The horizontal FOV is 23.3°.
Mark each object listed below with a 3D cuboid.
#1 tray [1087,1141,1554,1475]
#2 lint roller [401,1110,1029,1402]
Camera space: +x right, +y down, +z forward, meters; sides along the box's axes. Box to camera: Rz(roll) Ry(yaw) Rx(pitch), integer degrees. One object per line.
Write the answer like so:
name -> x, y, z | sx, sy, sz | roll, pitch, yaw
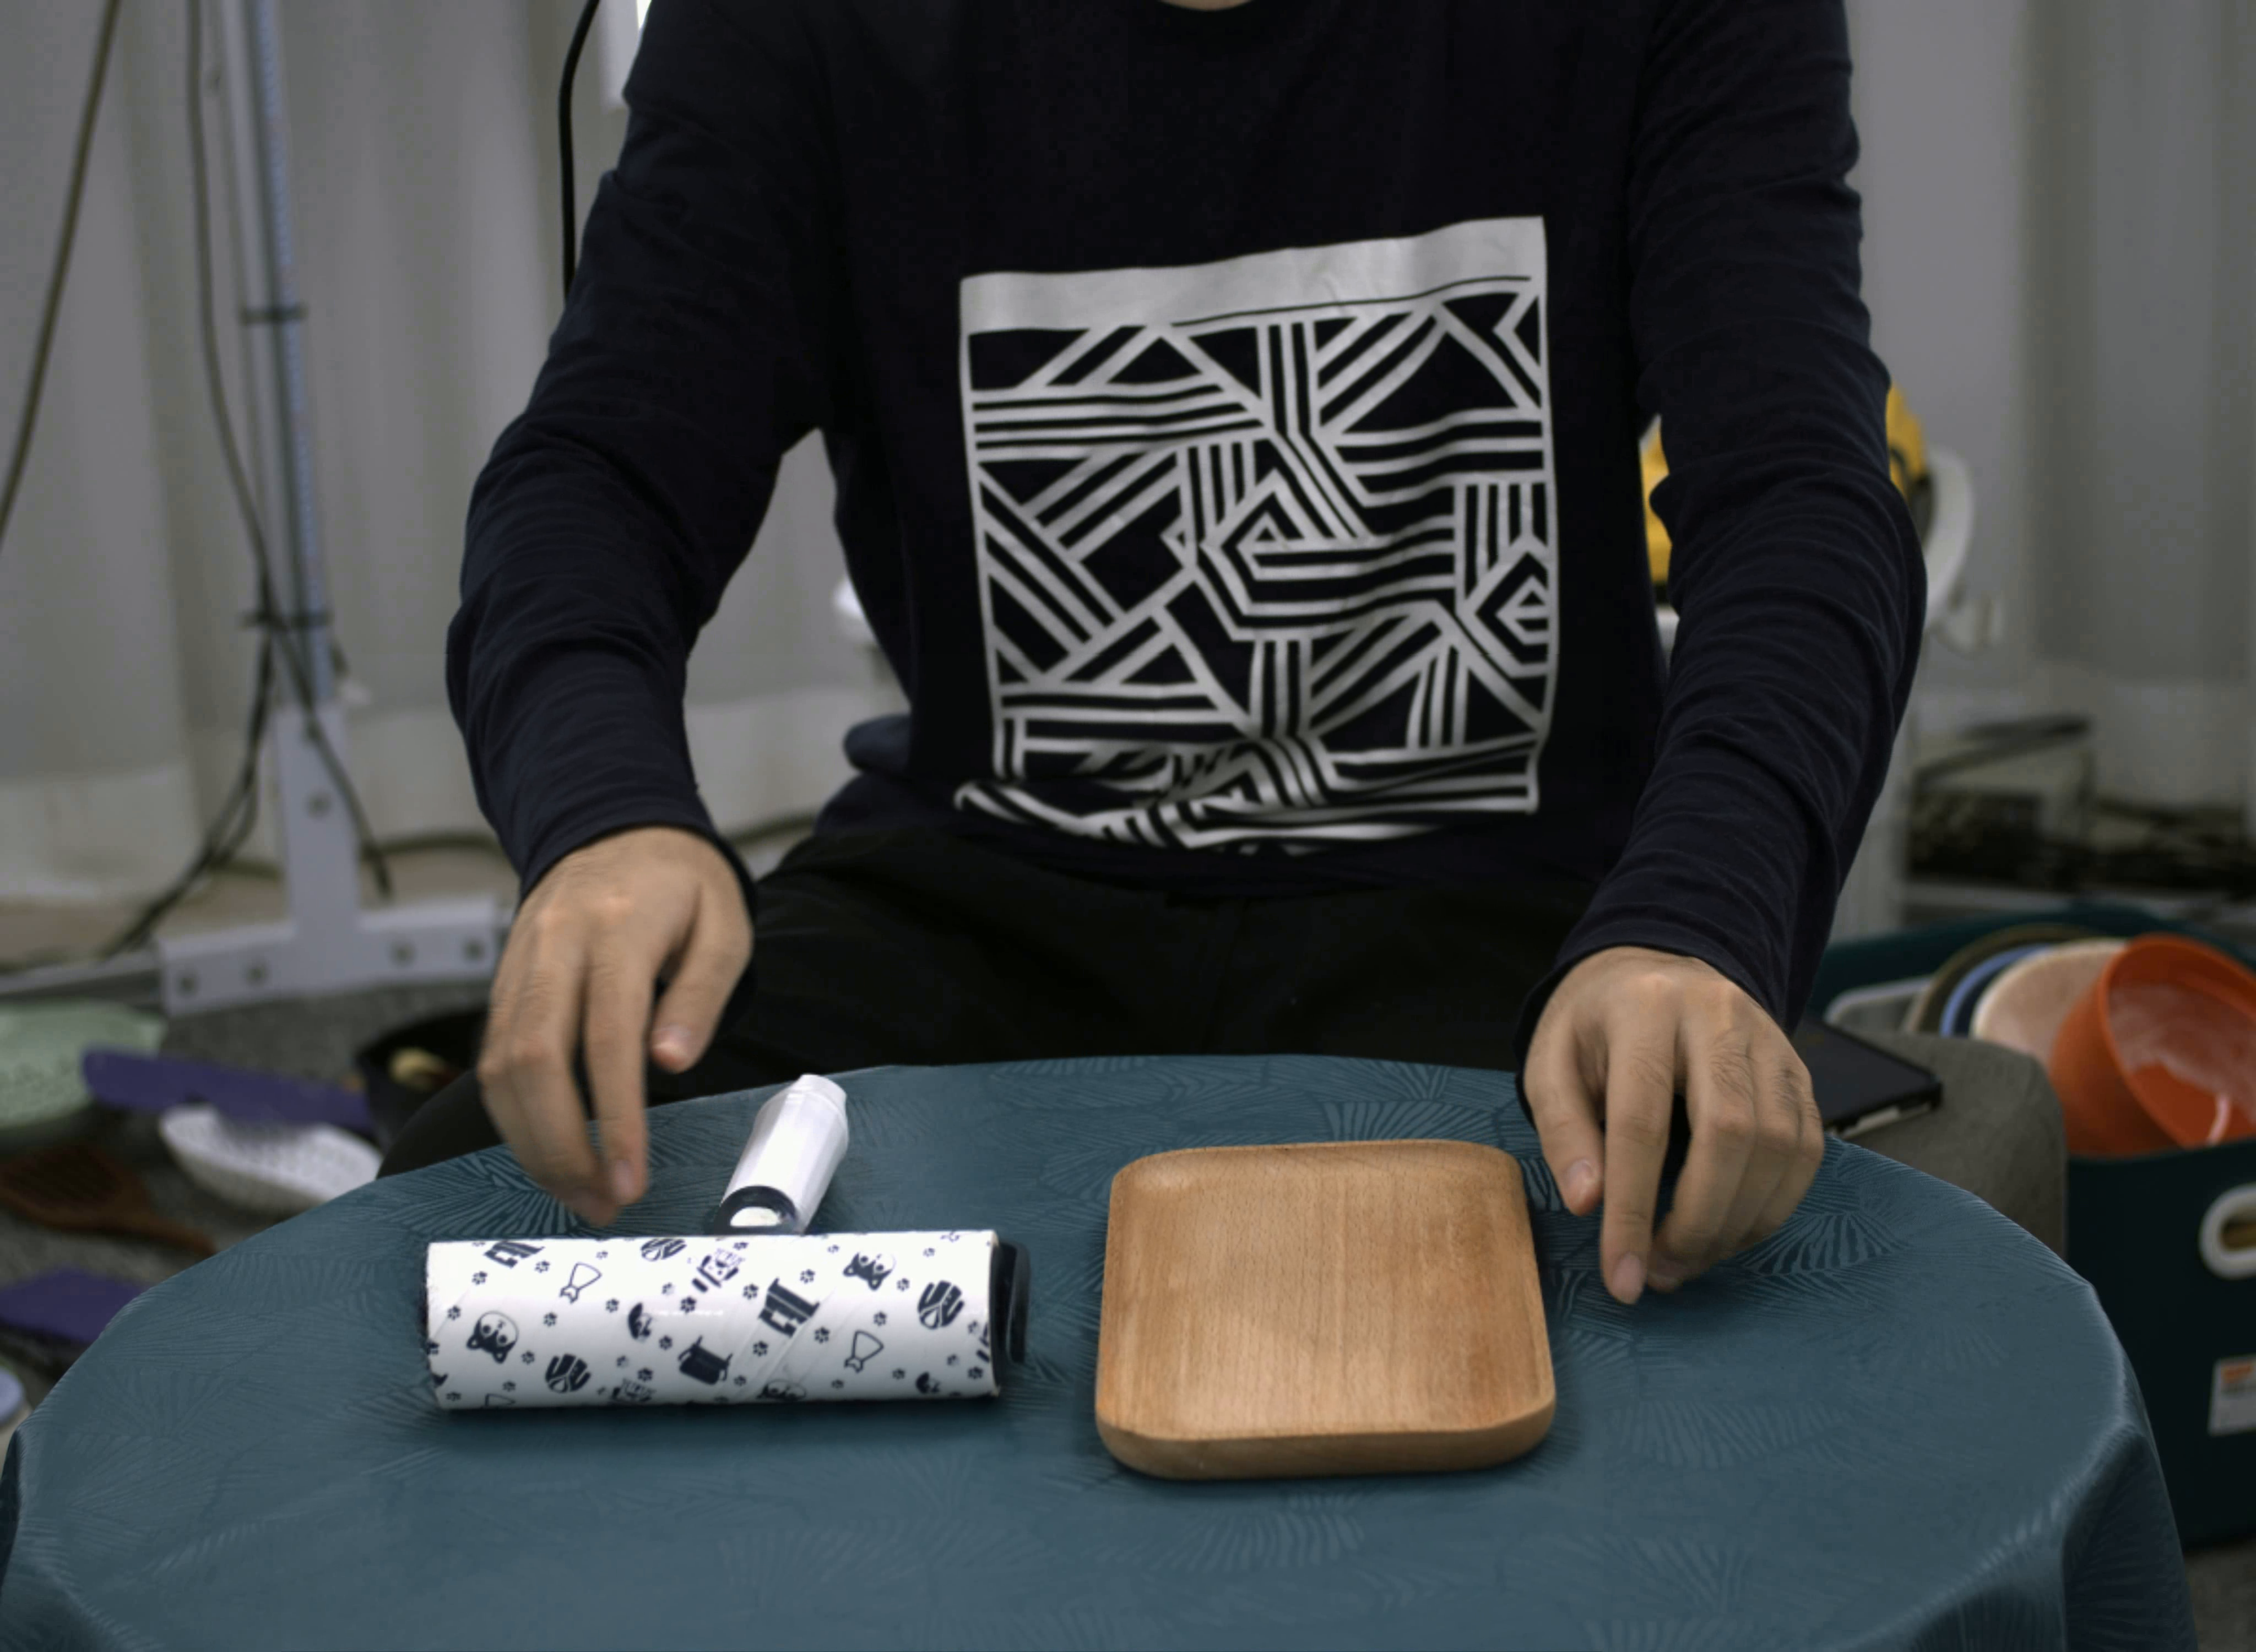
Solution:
tray -> 0.056, 0.137, 1.590 | 0.130, 0.023, 0.252 | 1, 14, 3
lint roller -> -0.112, 0.118, 1.650 | 0.176, 0.050, 0.248 | -3, 12, 4
